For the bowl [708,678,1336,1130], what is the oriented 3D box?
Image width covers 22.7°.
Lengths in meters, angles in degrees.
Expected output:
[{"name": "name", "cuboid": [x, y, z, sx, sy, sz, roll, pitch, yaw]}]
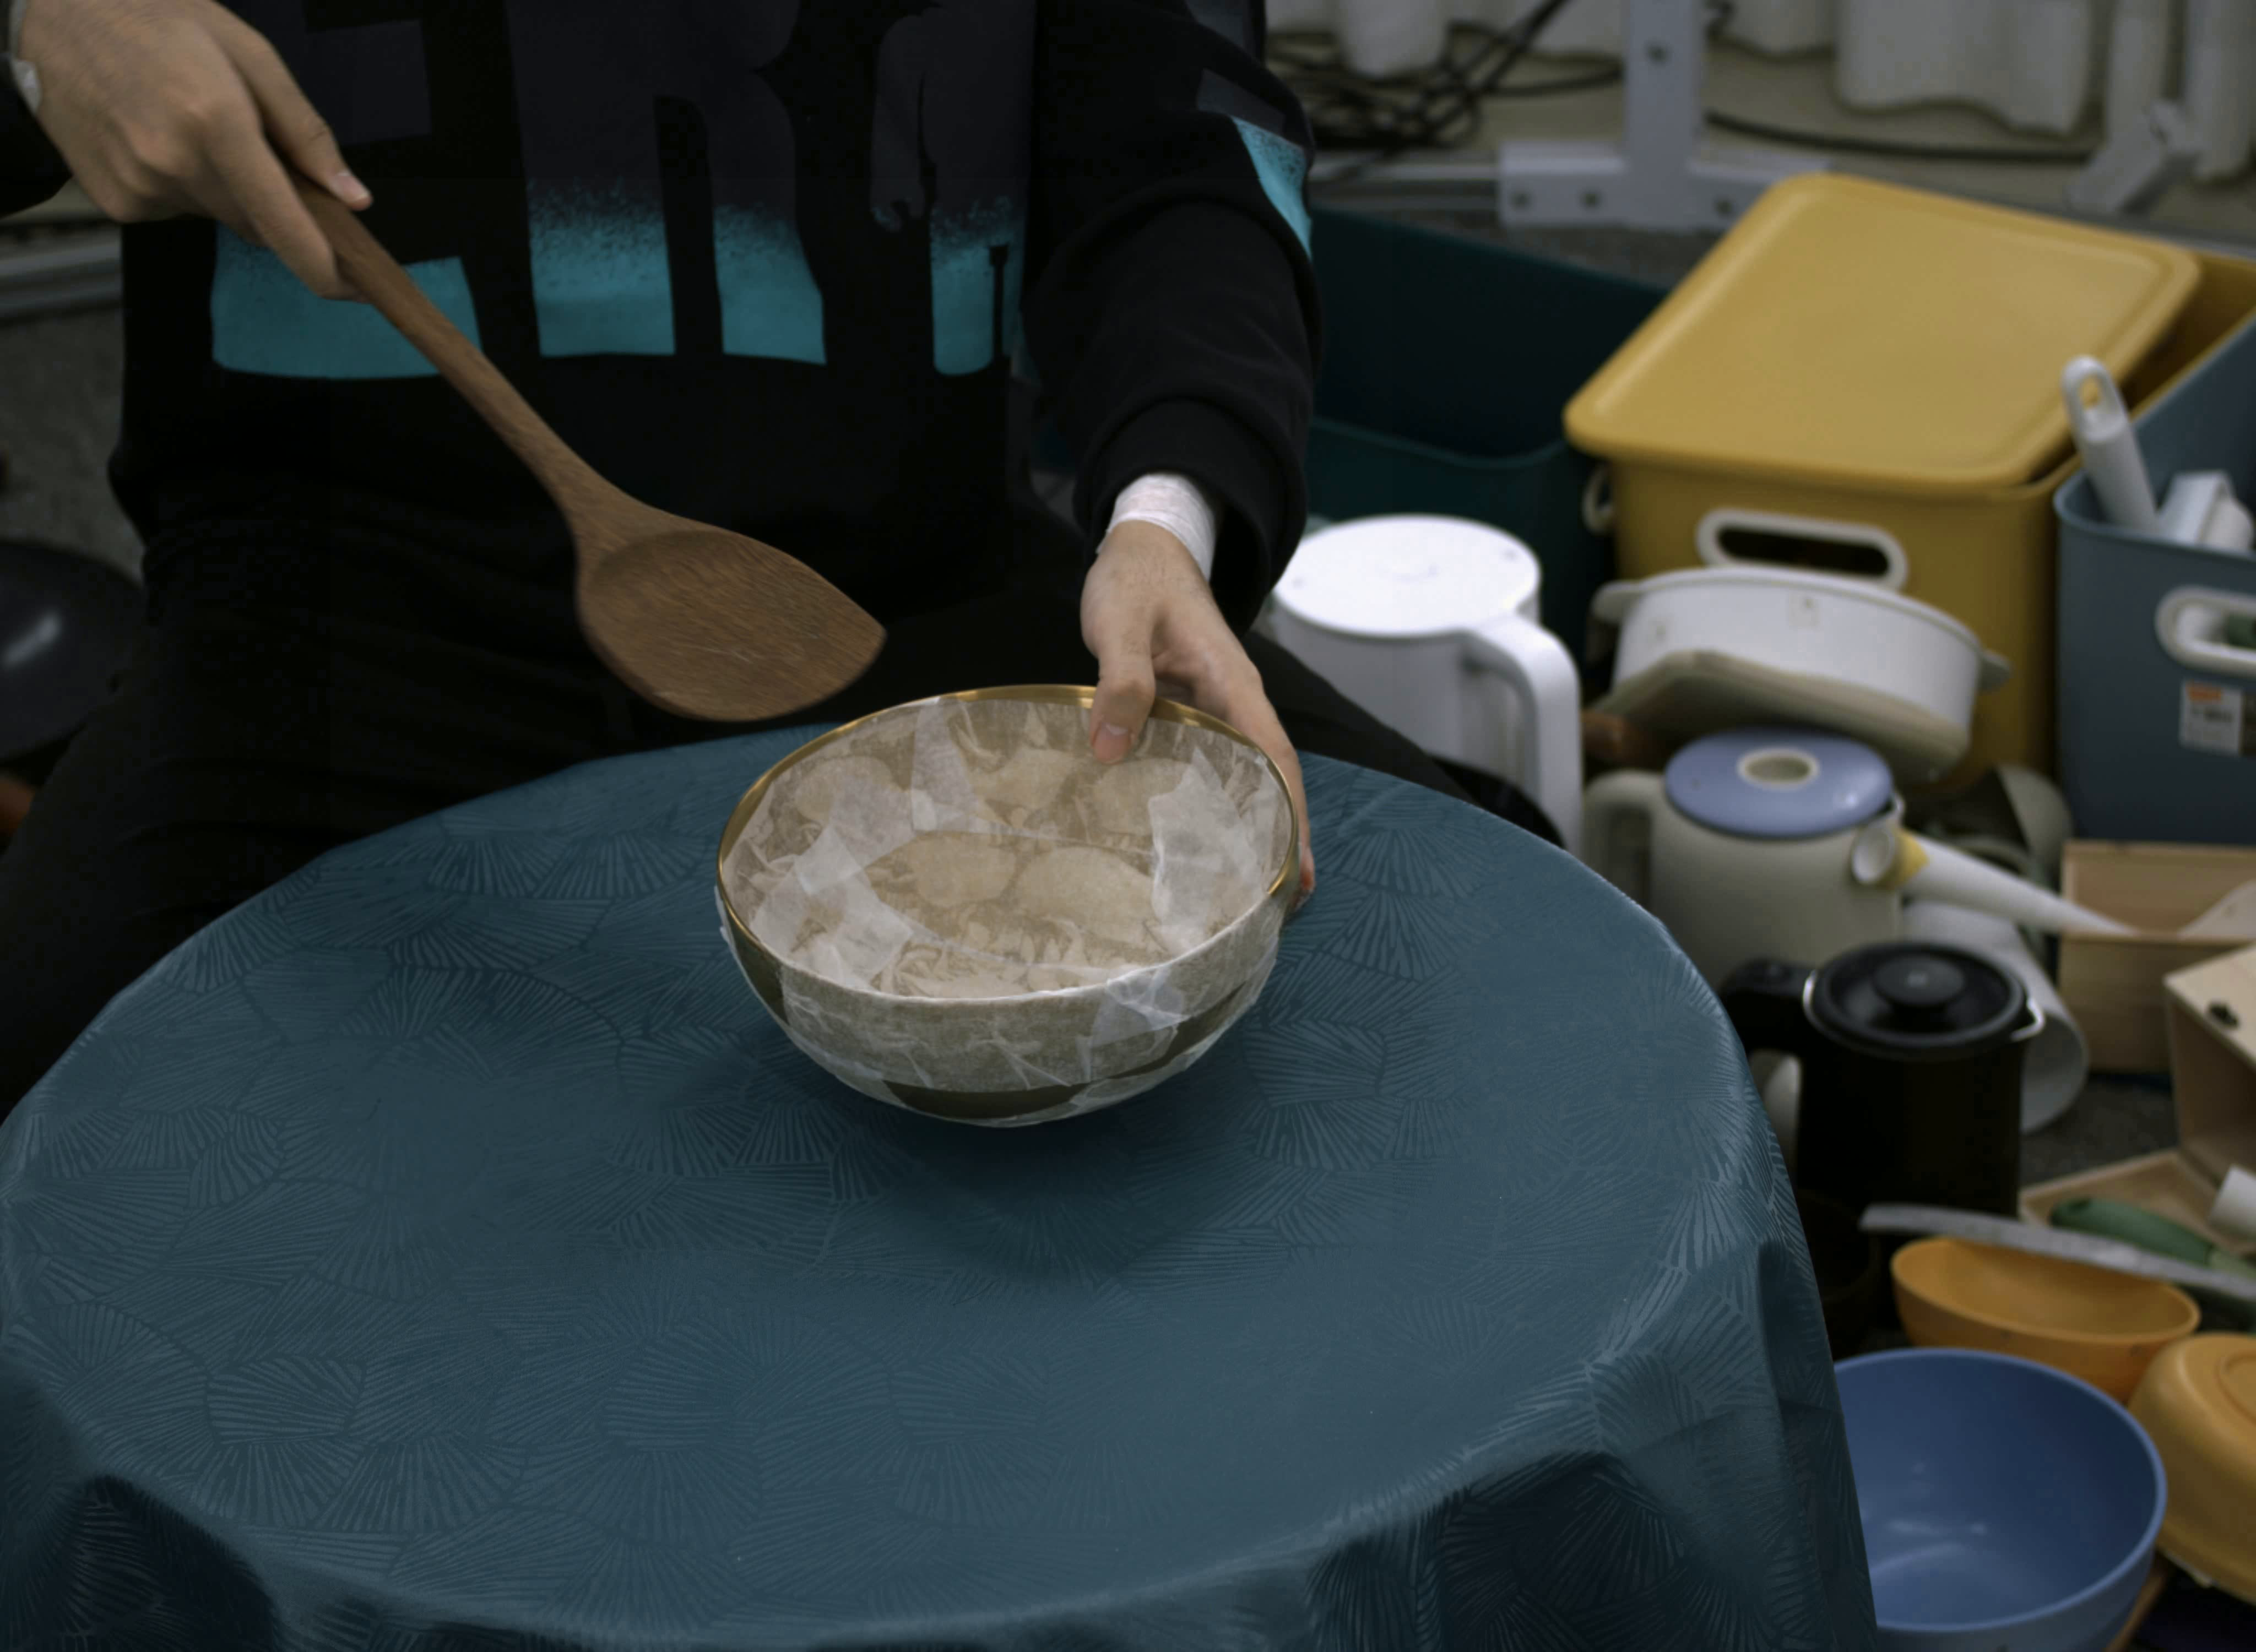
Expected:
[{"name": "bowl", "cuboid": [-0.034, 0.040, 1.920, 0.213, 0.093, 0.218, -4, 30, 3]}]

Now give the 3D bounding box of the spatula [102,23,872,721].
[{"name": "spatula", "cuboid": [-0.235, -0.163, 1.935, 0.097, 0.015, 0.388, -24, 58, -39]}]
